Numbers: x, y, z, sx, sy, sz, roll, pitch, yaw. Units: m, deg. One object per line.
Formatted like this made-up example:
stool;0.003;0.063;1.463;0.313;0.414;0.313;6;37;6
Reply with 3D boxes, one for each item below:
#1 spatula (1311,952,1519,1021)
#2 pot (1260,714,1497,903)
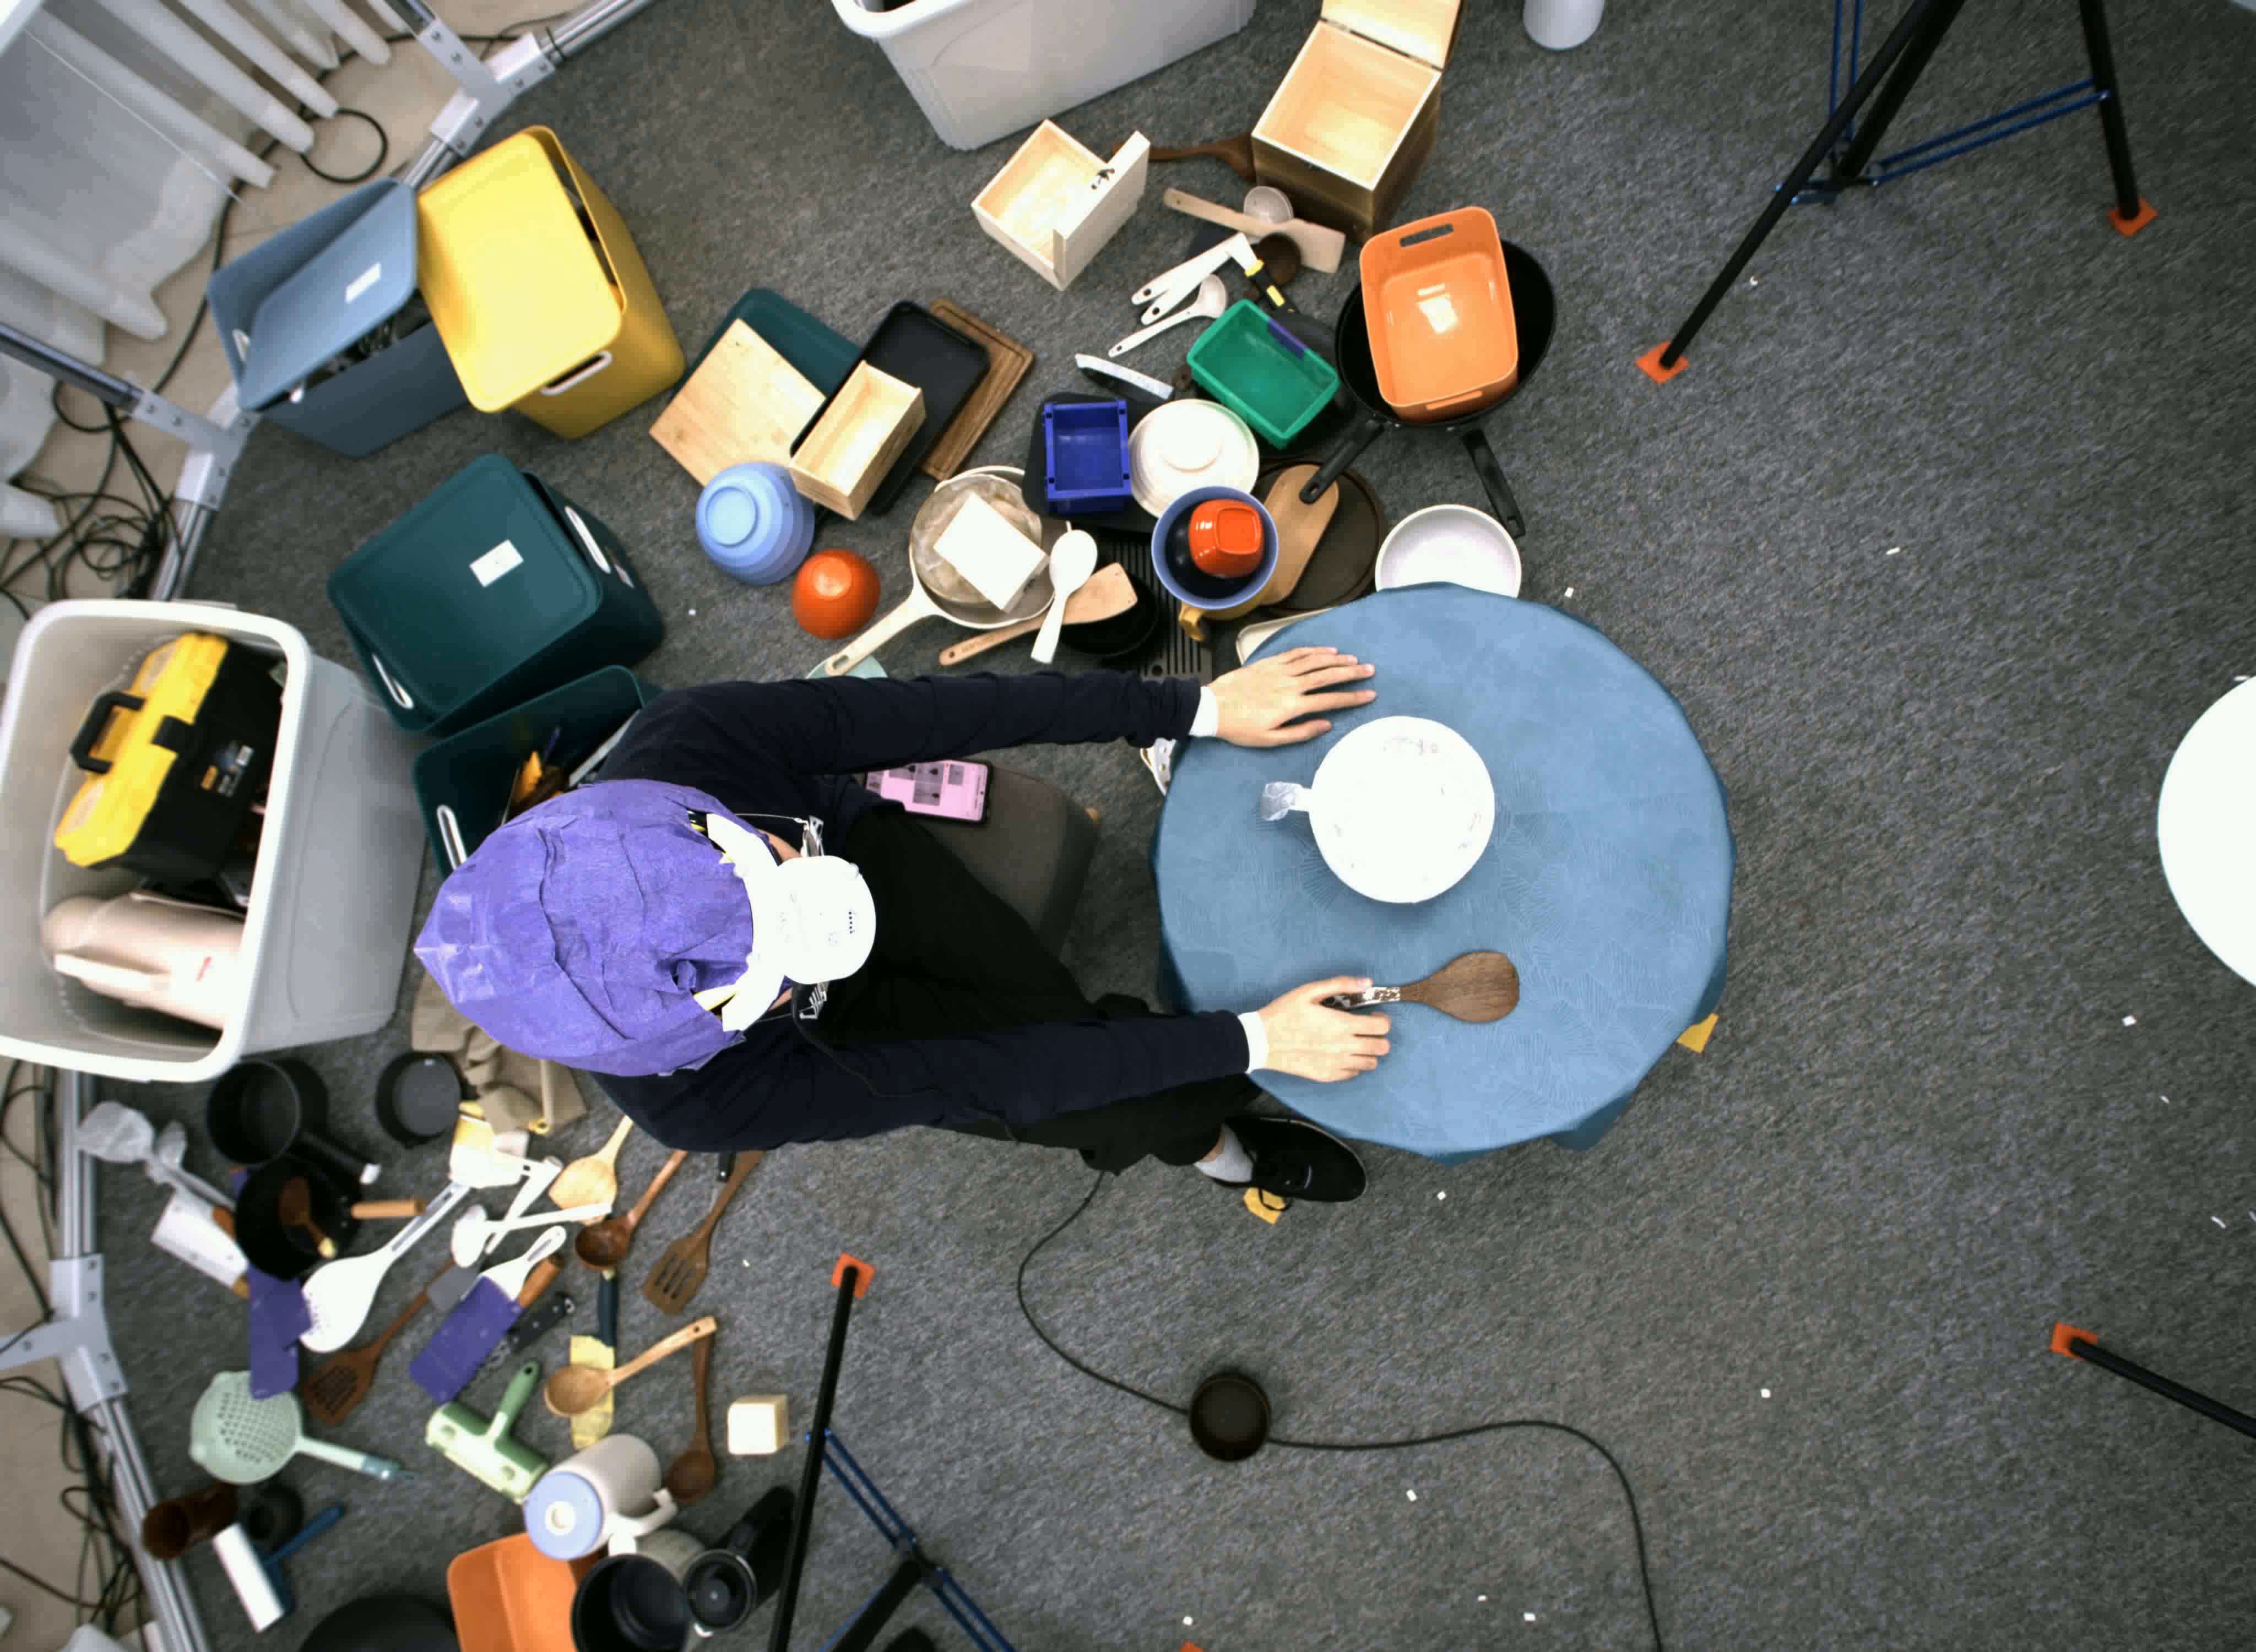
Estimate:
spatula;0.300;0.172;1.446;0.217;0.009;0.071;-6;84;11
pot;0.248;-0.016;1.398;0.234;0.137;0.177;5;84;10
